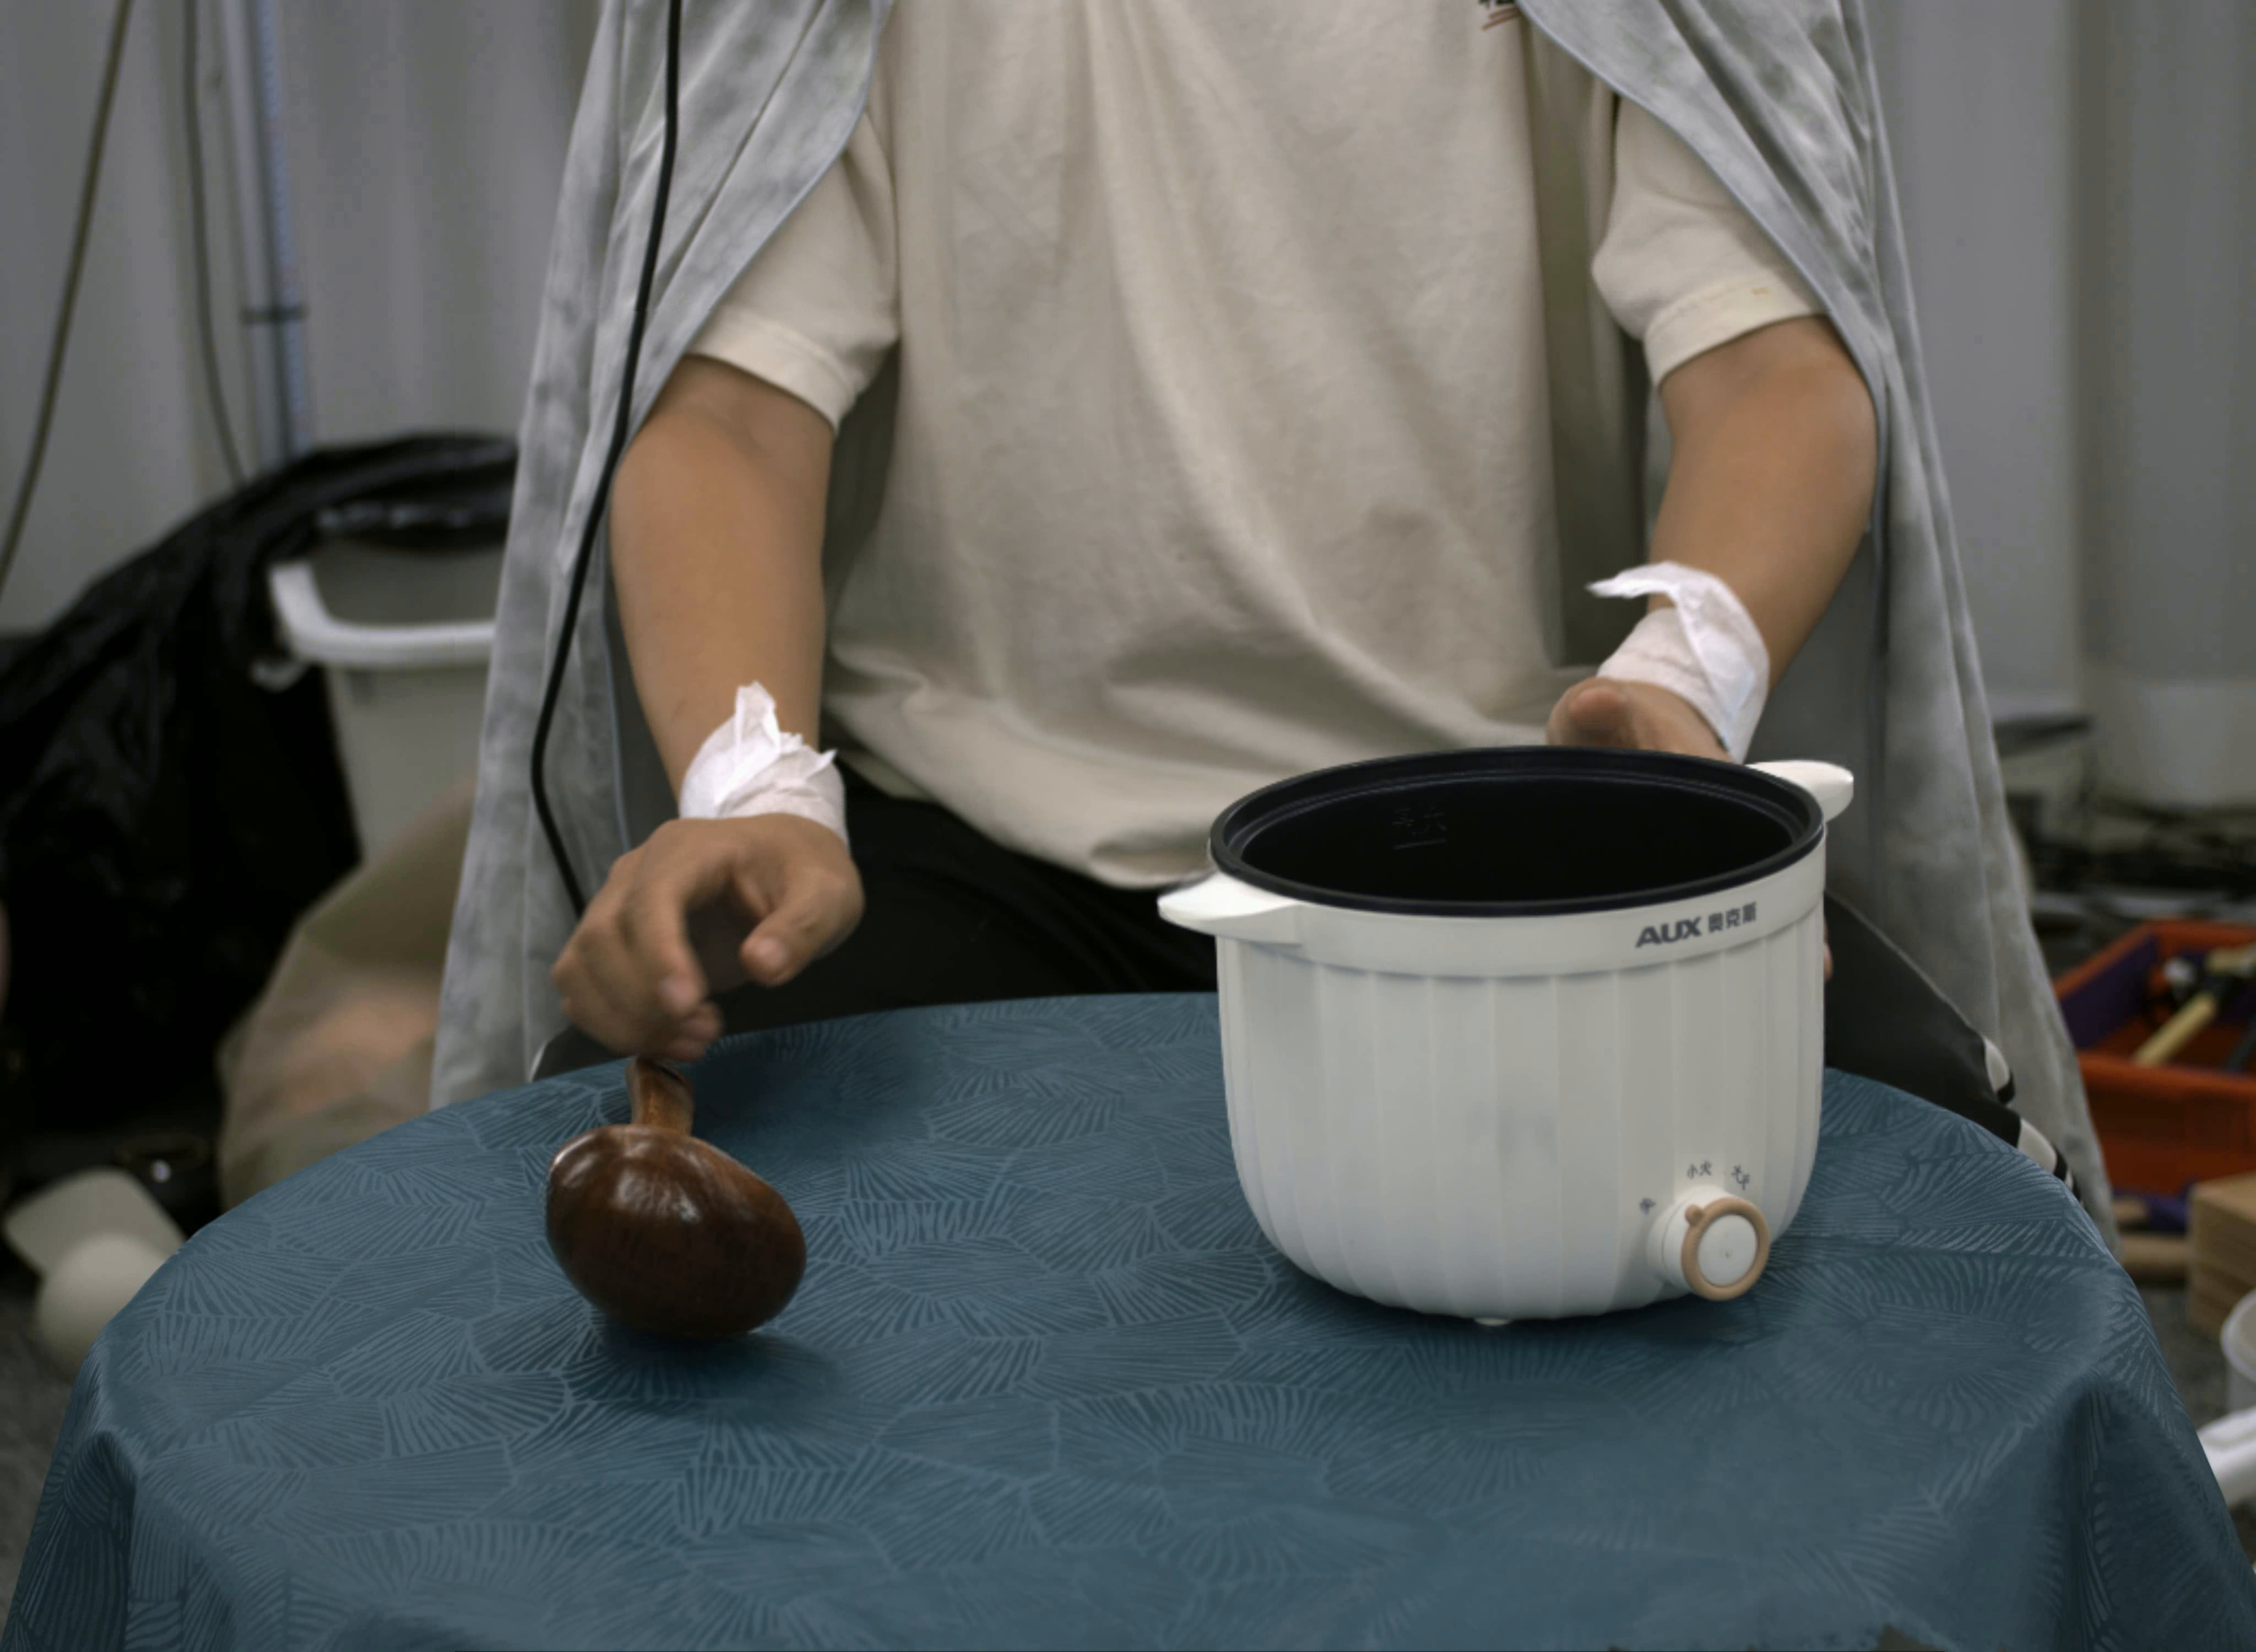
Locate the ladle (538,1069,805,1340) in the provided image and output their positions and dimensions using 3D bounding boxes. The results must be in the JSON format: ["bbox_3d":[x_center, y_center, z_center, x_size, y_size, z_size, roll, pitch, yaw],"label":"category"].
[{"bbox_3d":[-0.135,0.094,1.689,0.081,0.076,0.276,38,11,-8],"label":"ladle"}]

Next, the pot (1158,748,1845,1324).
[{"bbox_3d":[0.120,0.063,1.621,0.239,0.142,0.191,-12,14,-29],"label":"pot"}]
